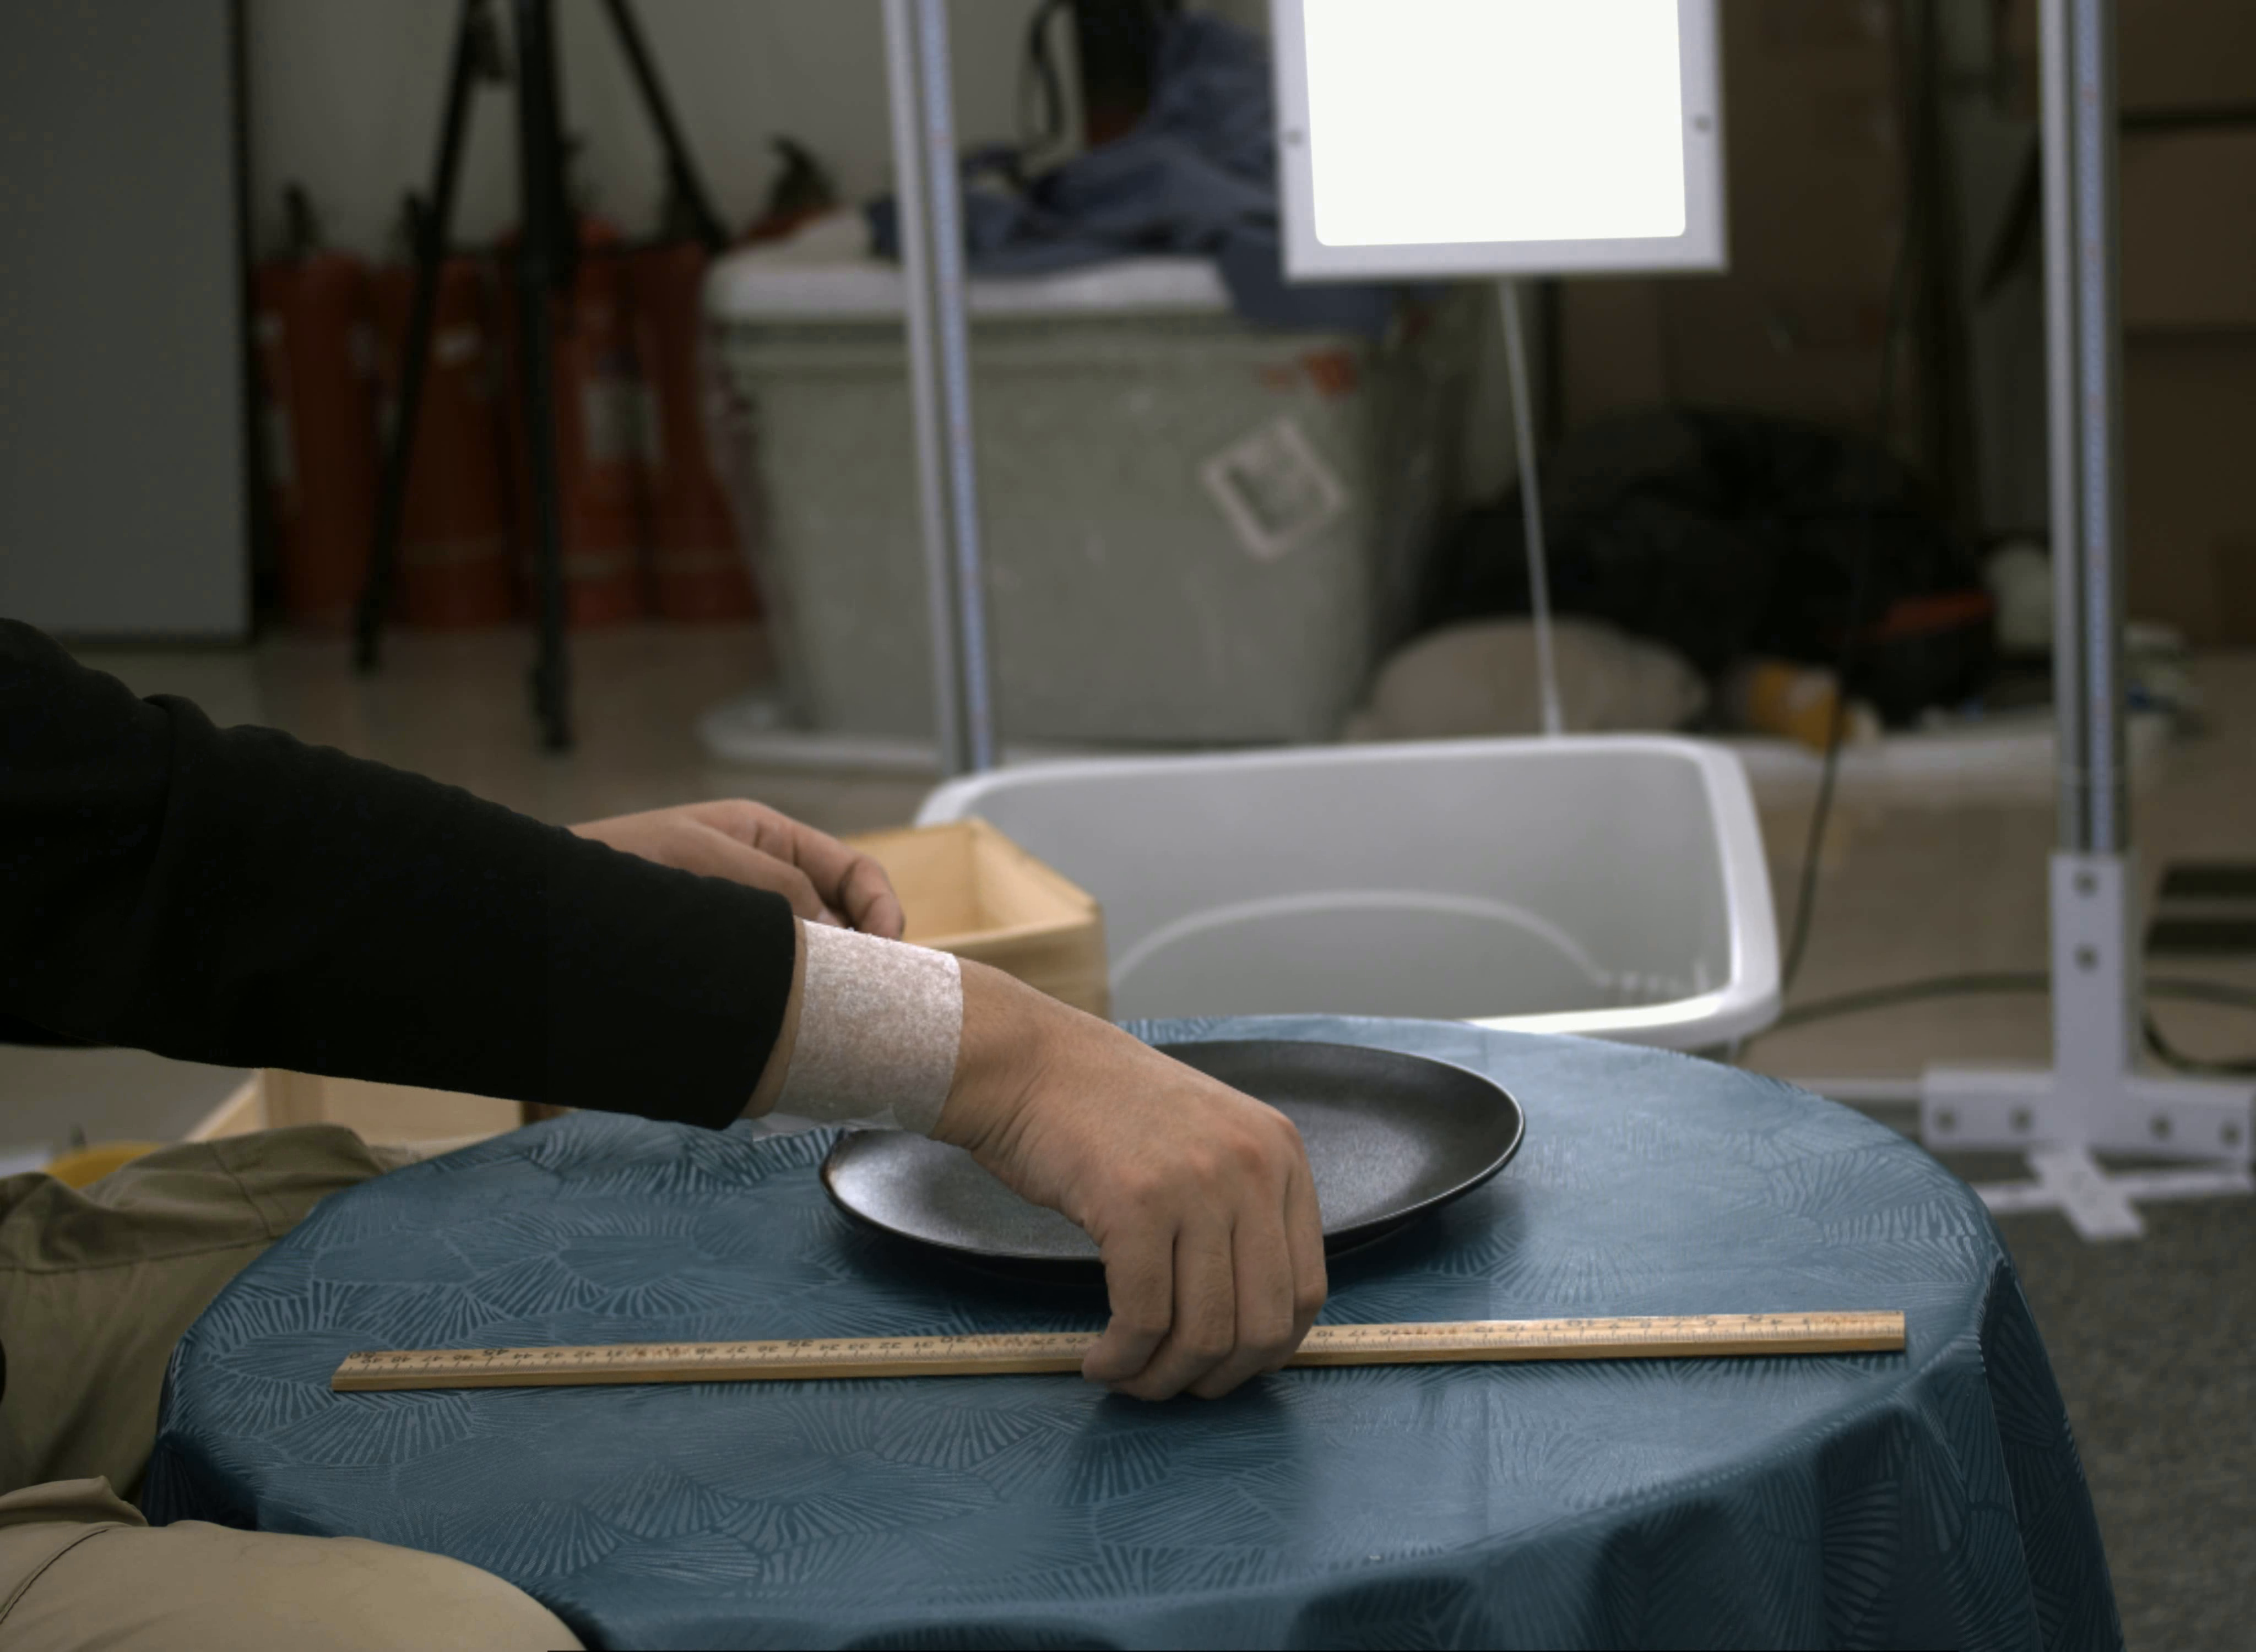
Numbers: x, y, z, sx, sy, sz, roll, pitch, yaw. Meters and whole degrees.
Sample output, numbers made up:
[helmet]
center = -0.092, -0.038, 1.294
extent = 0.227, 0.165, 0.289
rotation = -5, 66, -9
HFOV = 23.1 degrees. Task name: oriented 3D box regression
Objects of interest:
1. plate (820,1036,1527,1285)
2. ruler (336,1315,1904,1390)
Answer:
[plate]
center = 0.016, 0.117, 1.882
extent = 0.244, 0.023, 0.244
rotation = -5, 14, 0
[ruler]
center = -0.006, 0.165, 1.730
extent = 0.504, 0.006, 0.026
rotation = -2, 12, 12
